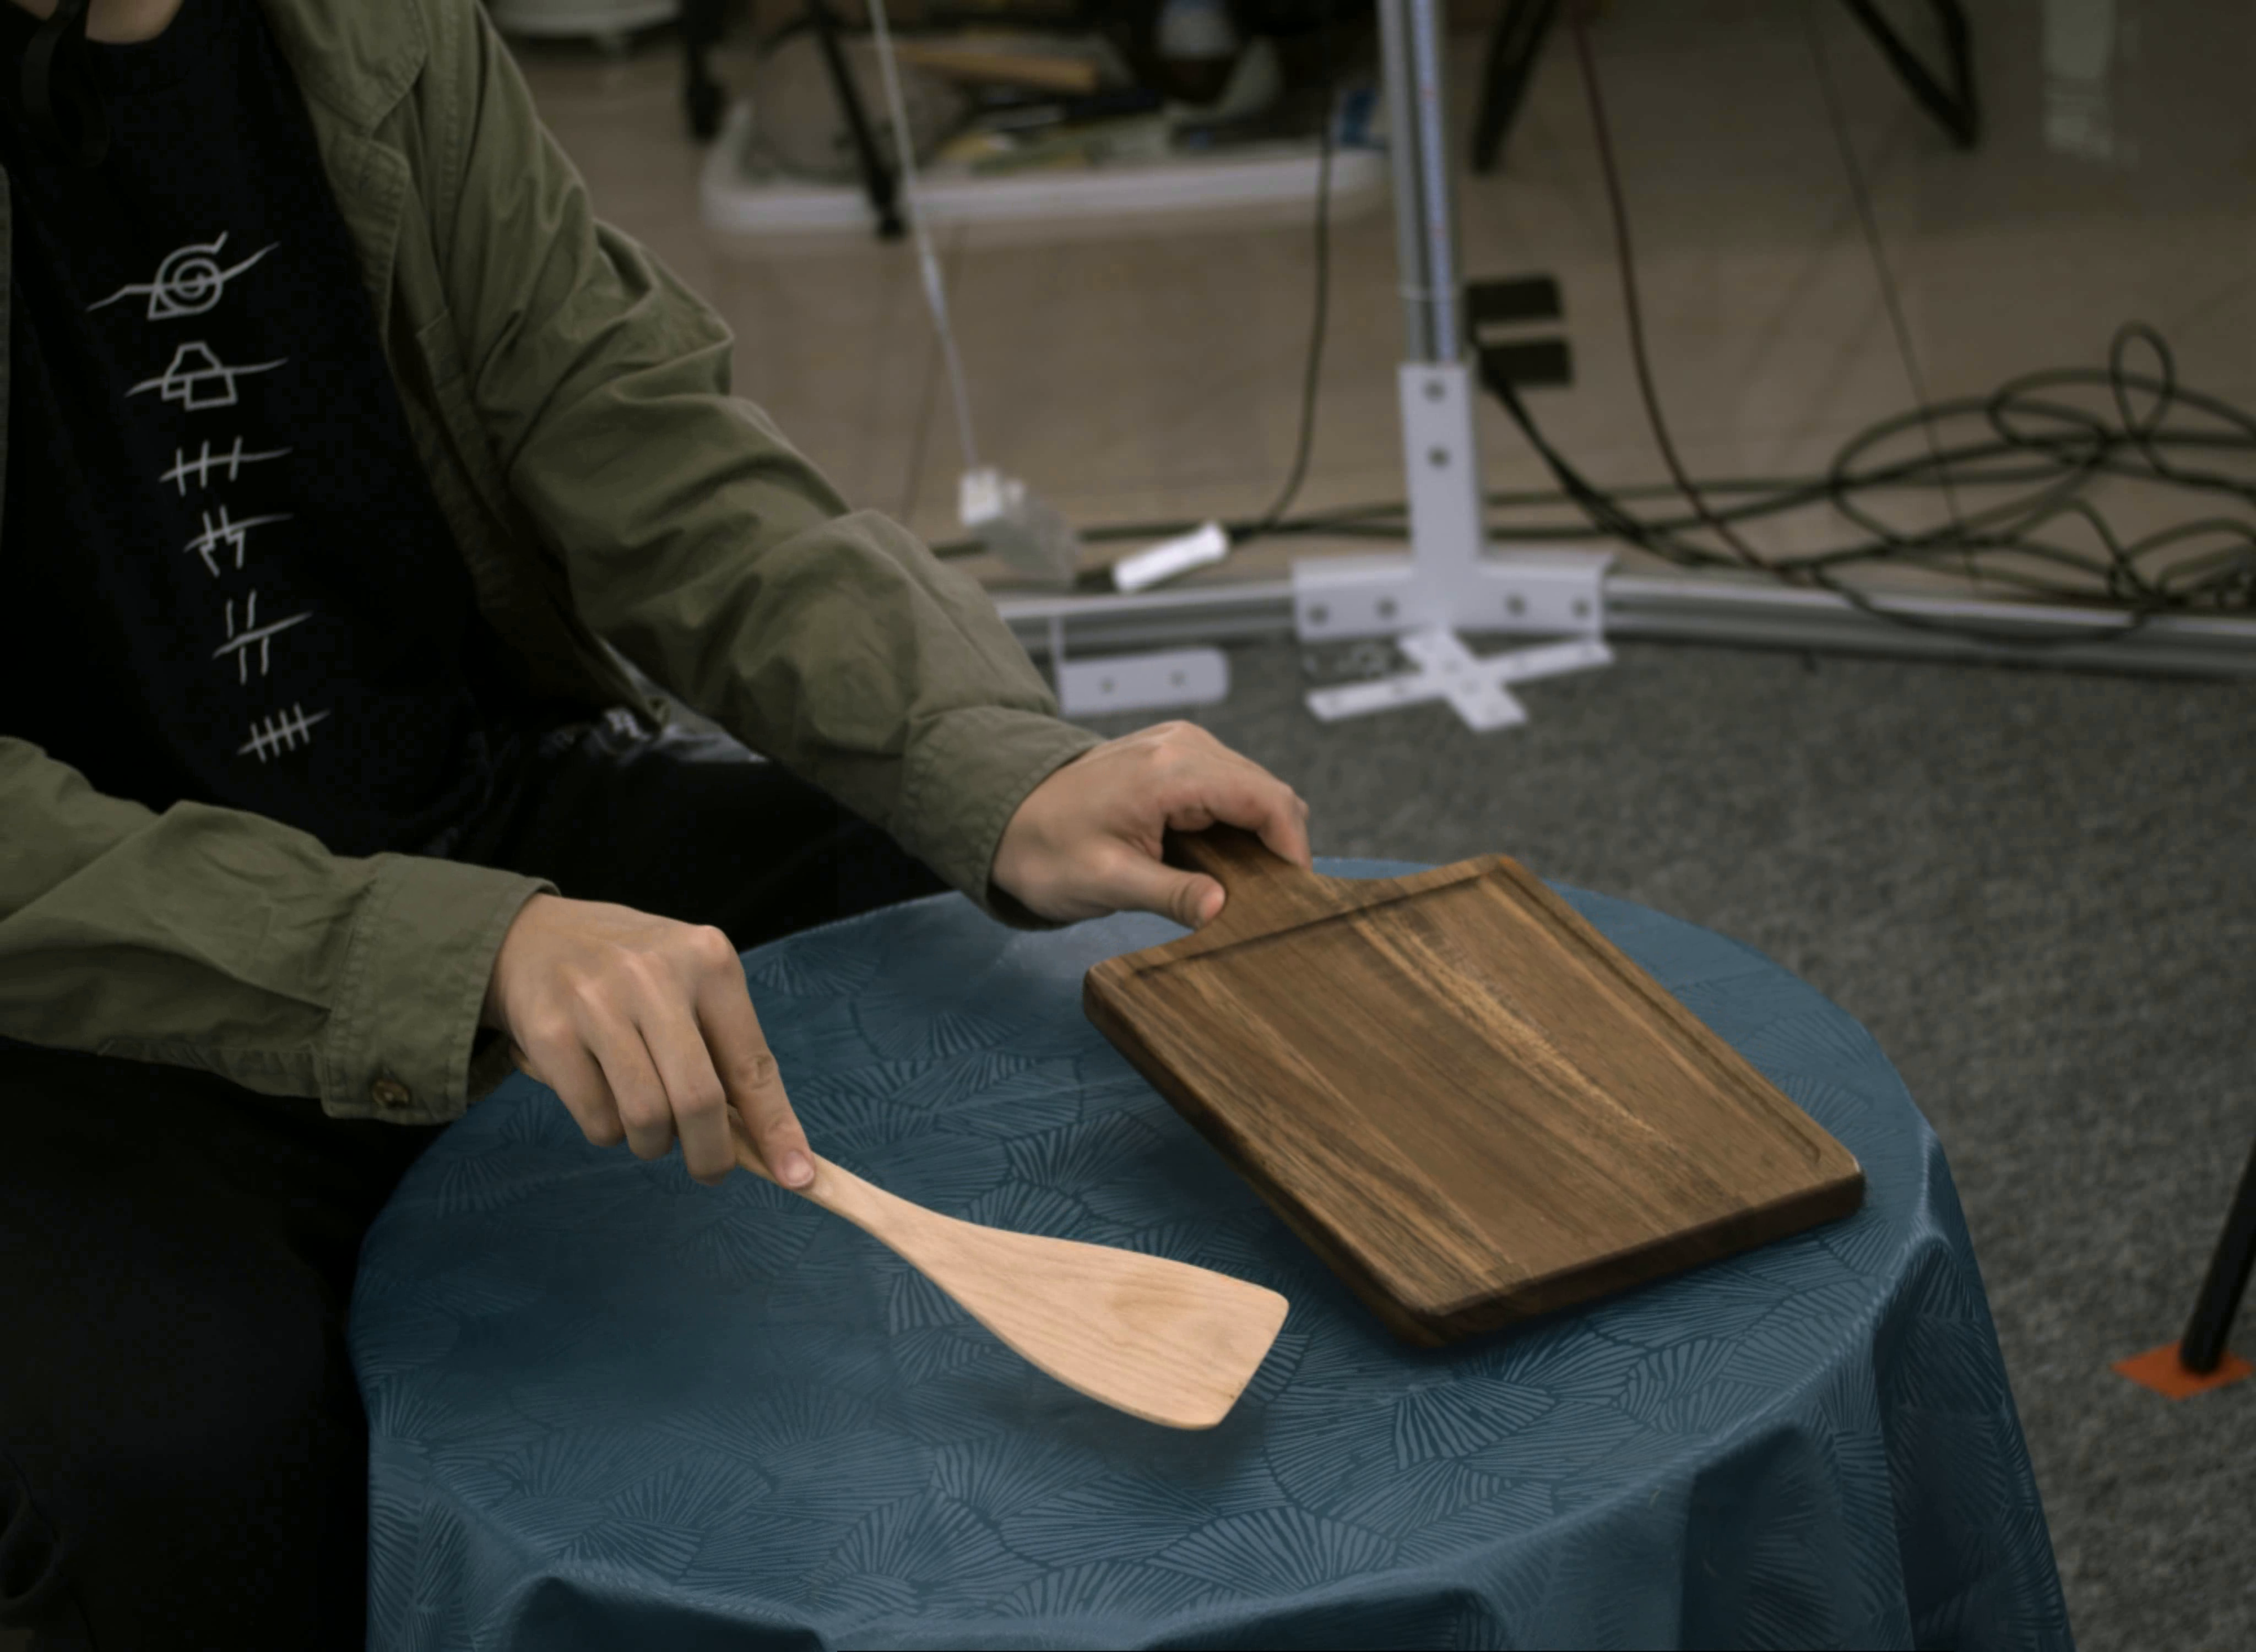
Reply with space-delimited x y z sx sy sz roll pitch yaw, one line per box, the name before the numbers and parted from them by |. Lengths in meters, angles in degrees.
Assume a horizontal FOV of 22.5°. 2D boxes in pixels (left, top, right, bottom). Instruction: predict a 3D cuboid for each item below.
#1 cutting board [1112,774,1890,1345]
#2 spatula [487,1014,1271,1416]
cutting board | 0.113 0.072 2.161 0.200 0.023 0.347 -14 36 -25
spatula | -0.095 0.130 2.030 0.325 0.017 0.079 24 41 22
